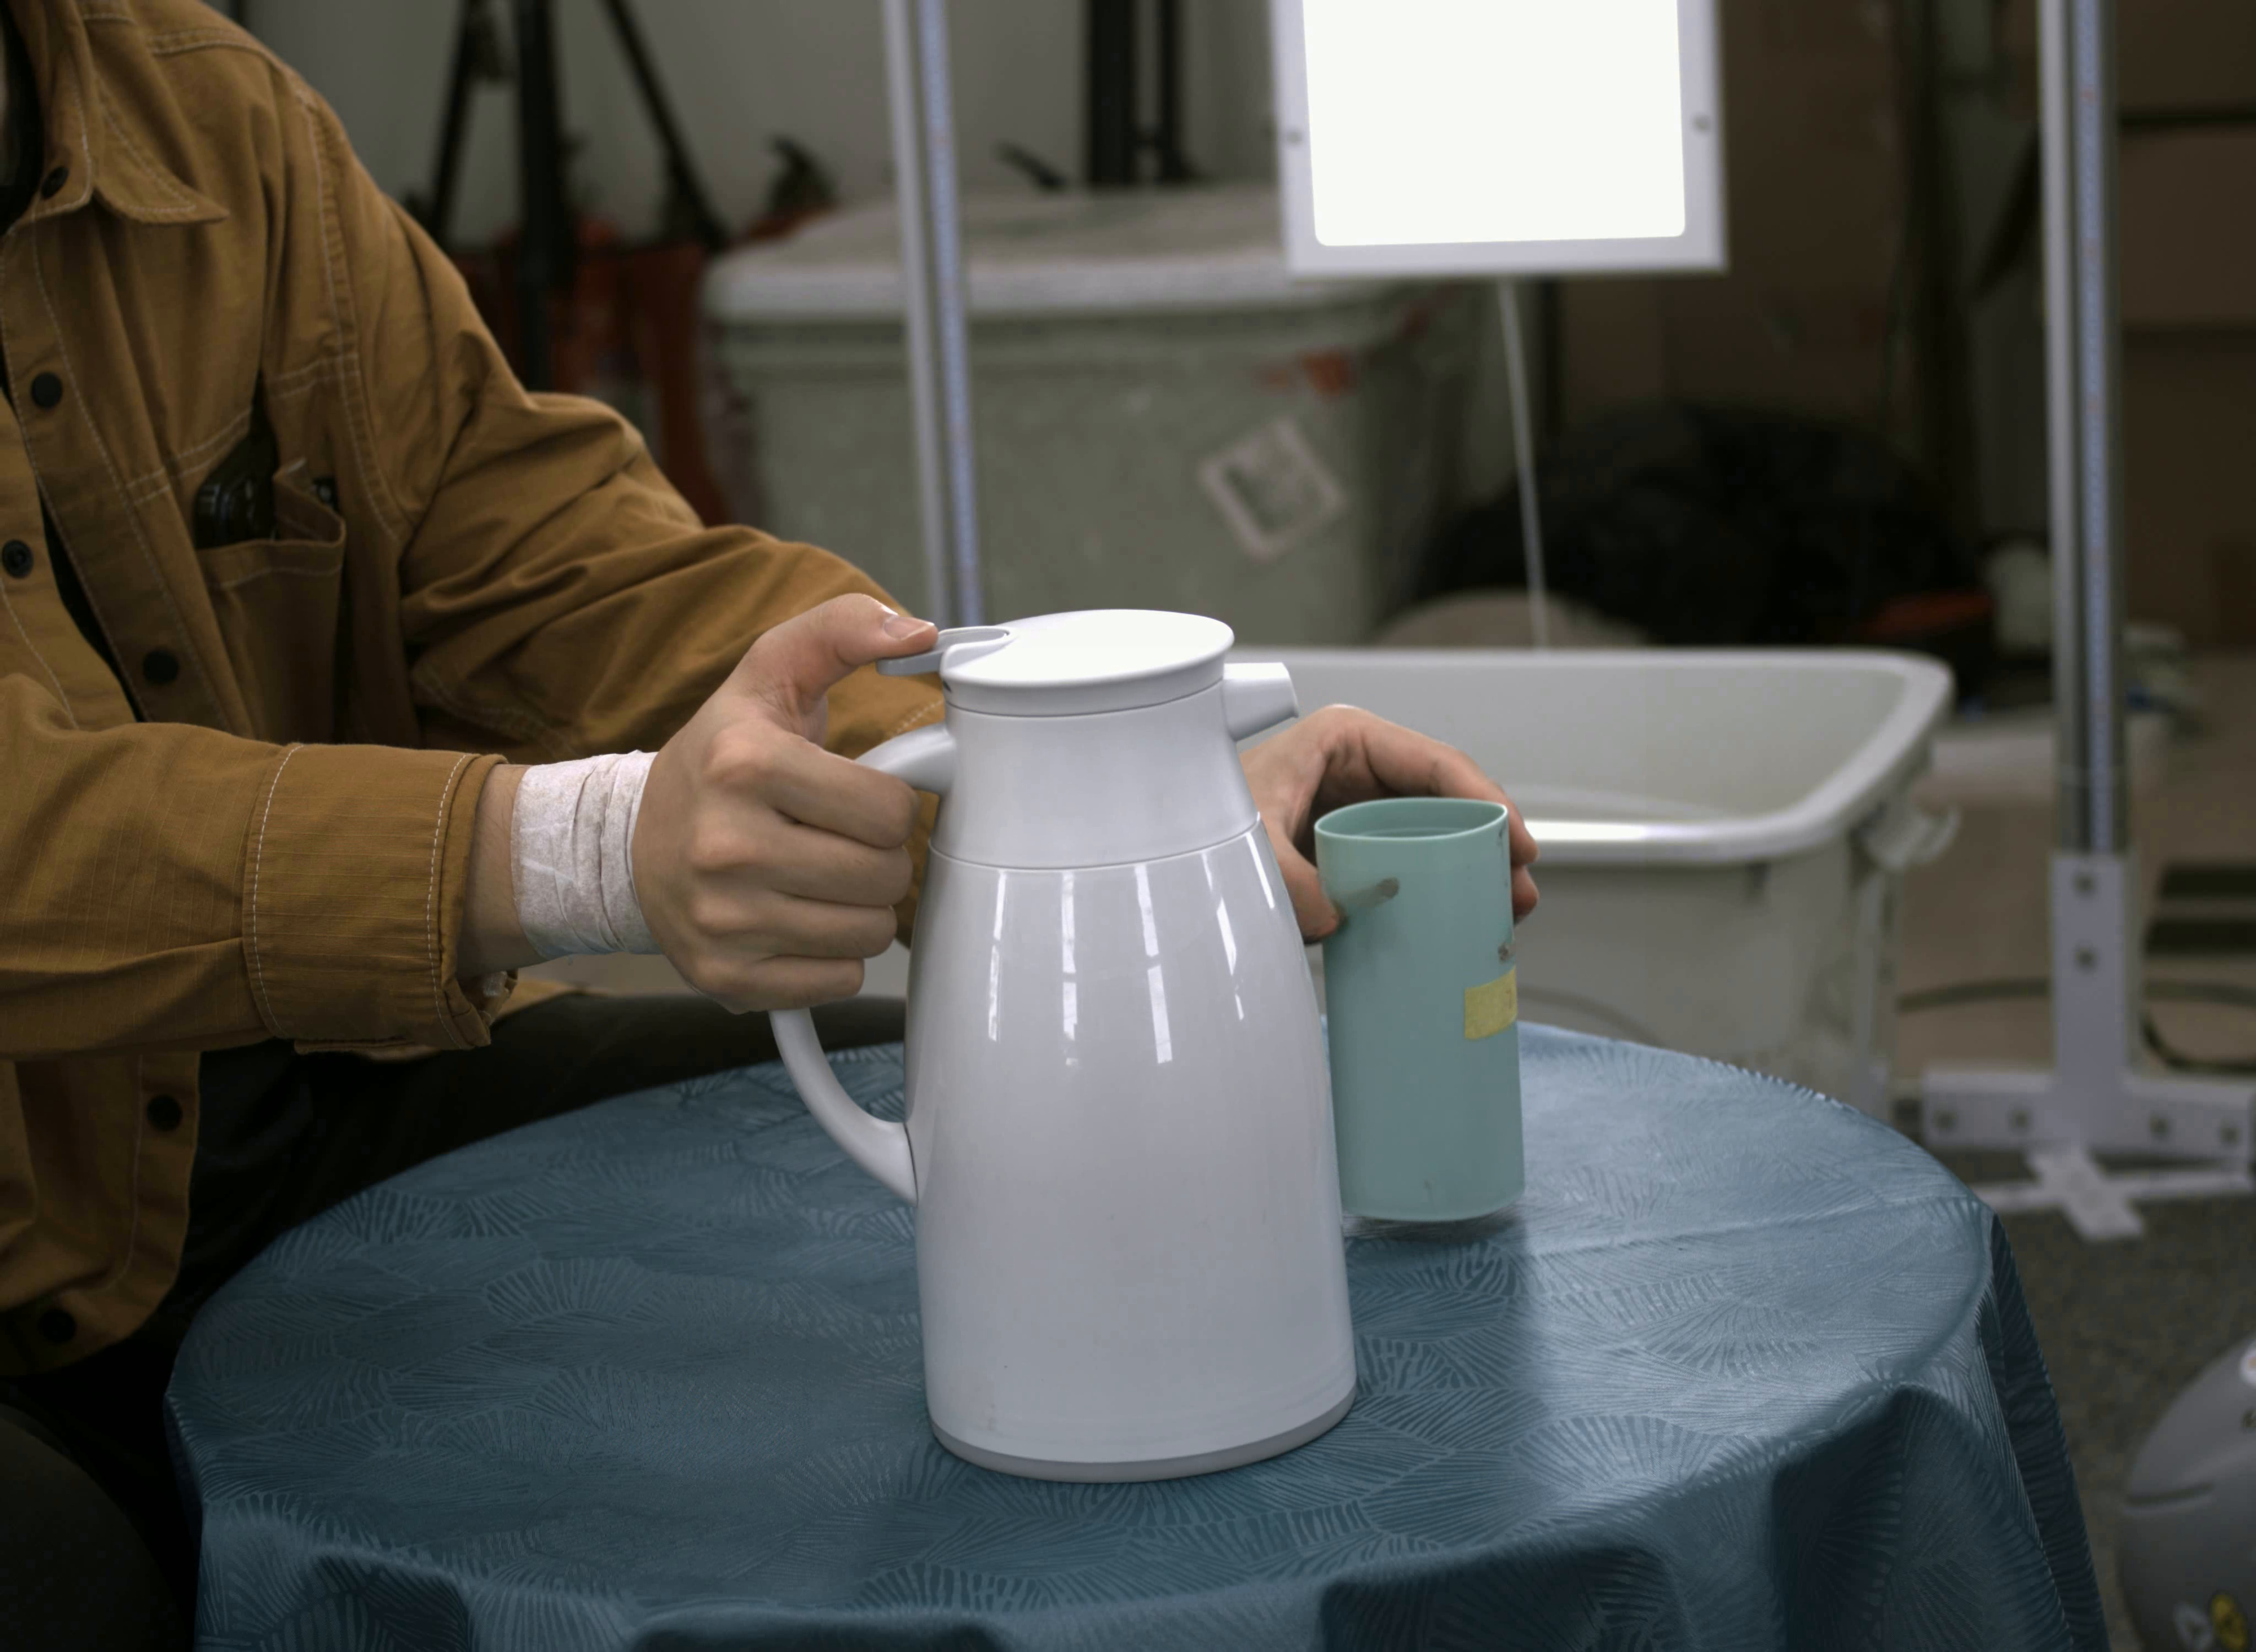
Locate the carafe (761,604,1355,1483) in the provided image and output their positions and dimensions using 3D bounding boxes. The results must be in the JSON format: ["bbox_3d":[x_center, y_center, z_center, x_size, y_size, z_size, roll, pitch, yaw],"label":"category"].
[{"bbox_3d":[-0.024,0.061,1.654,0.167,0.249,0.133,-7,14,-4],"label":"carafe"}]

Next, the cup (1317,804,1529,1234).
[{"bbox_3d":[0.098,0.063,1.826,0.066,0.133,0.066,-4,12,-1],"label":"cup"}]
